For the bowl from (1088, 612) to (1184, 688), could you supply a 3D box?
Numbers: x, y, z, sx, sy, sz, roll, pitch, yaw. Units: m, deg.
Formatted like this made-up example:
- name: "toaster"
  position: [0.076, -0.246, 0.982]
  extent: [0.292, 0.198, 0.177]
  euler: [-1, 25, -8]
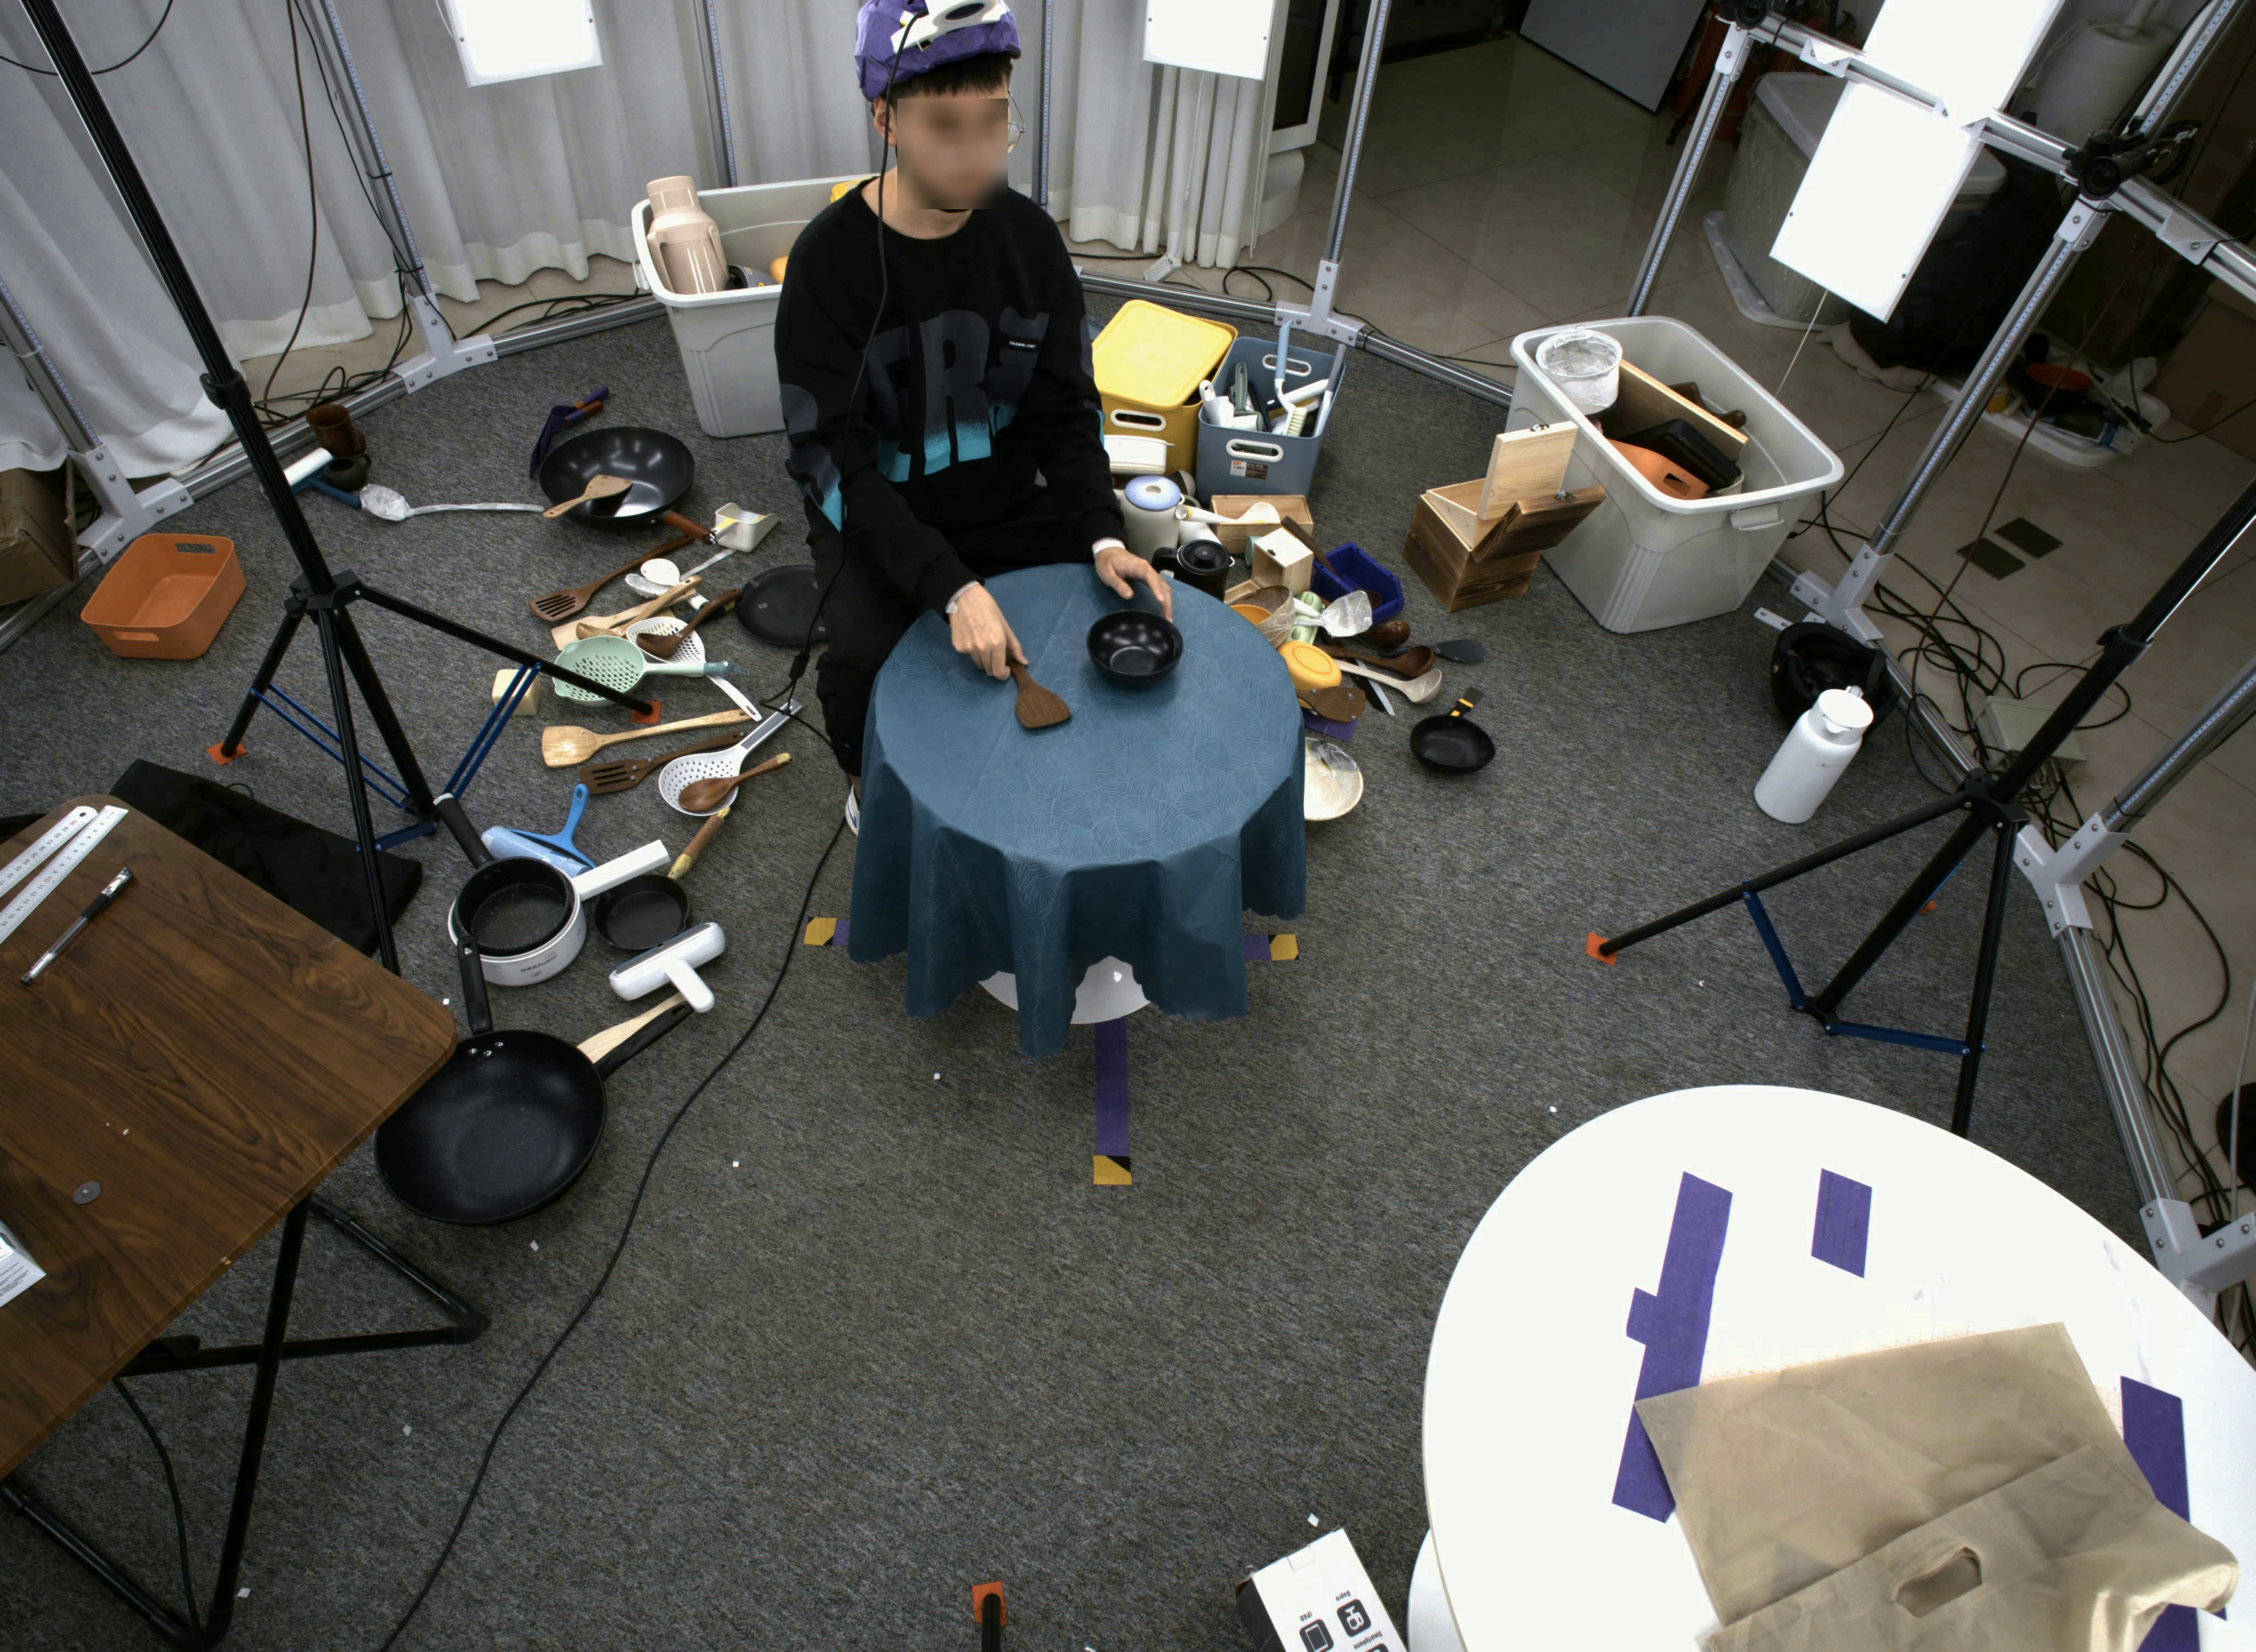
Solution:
- name: "bowl"
  position: [0.012, -0.248, 1.870]
  extent: [0.140, 0.048, 0.143]
  euler: [0, 50, 0]

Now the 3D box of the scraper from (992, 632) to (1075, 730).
- name: "scraper"
  position: [-0.148, -0.212, 1.853]
  extent: [0.076, 0.010, 0.216]
  euler: [-15, 51, -20]
